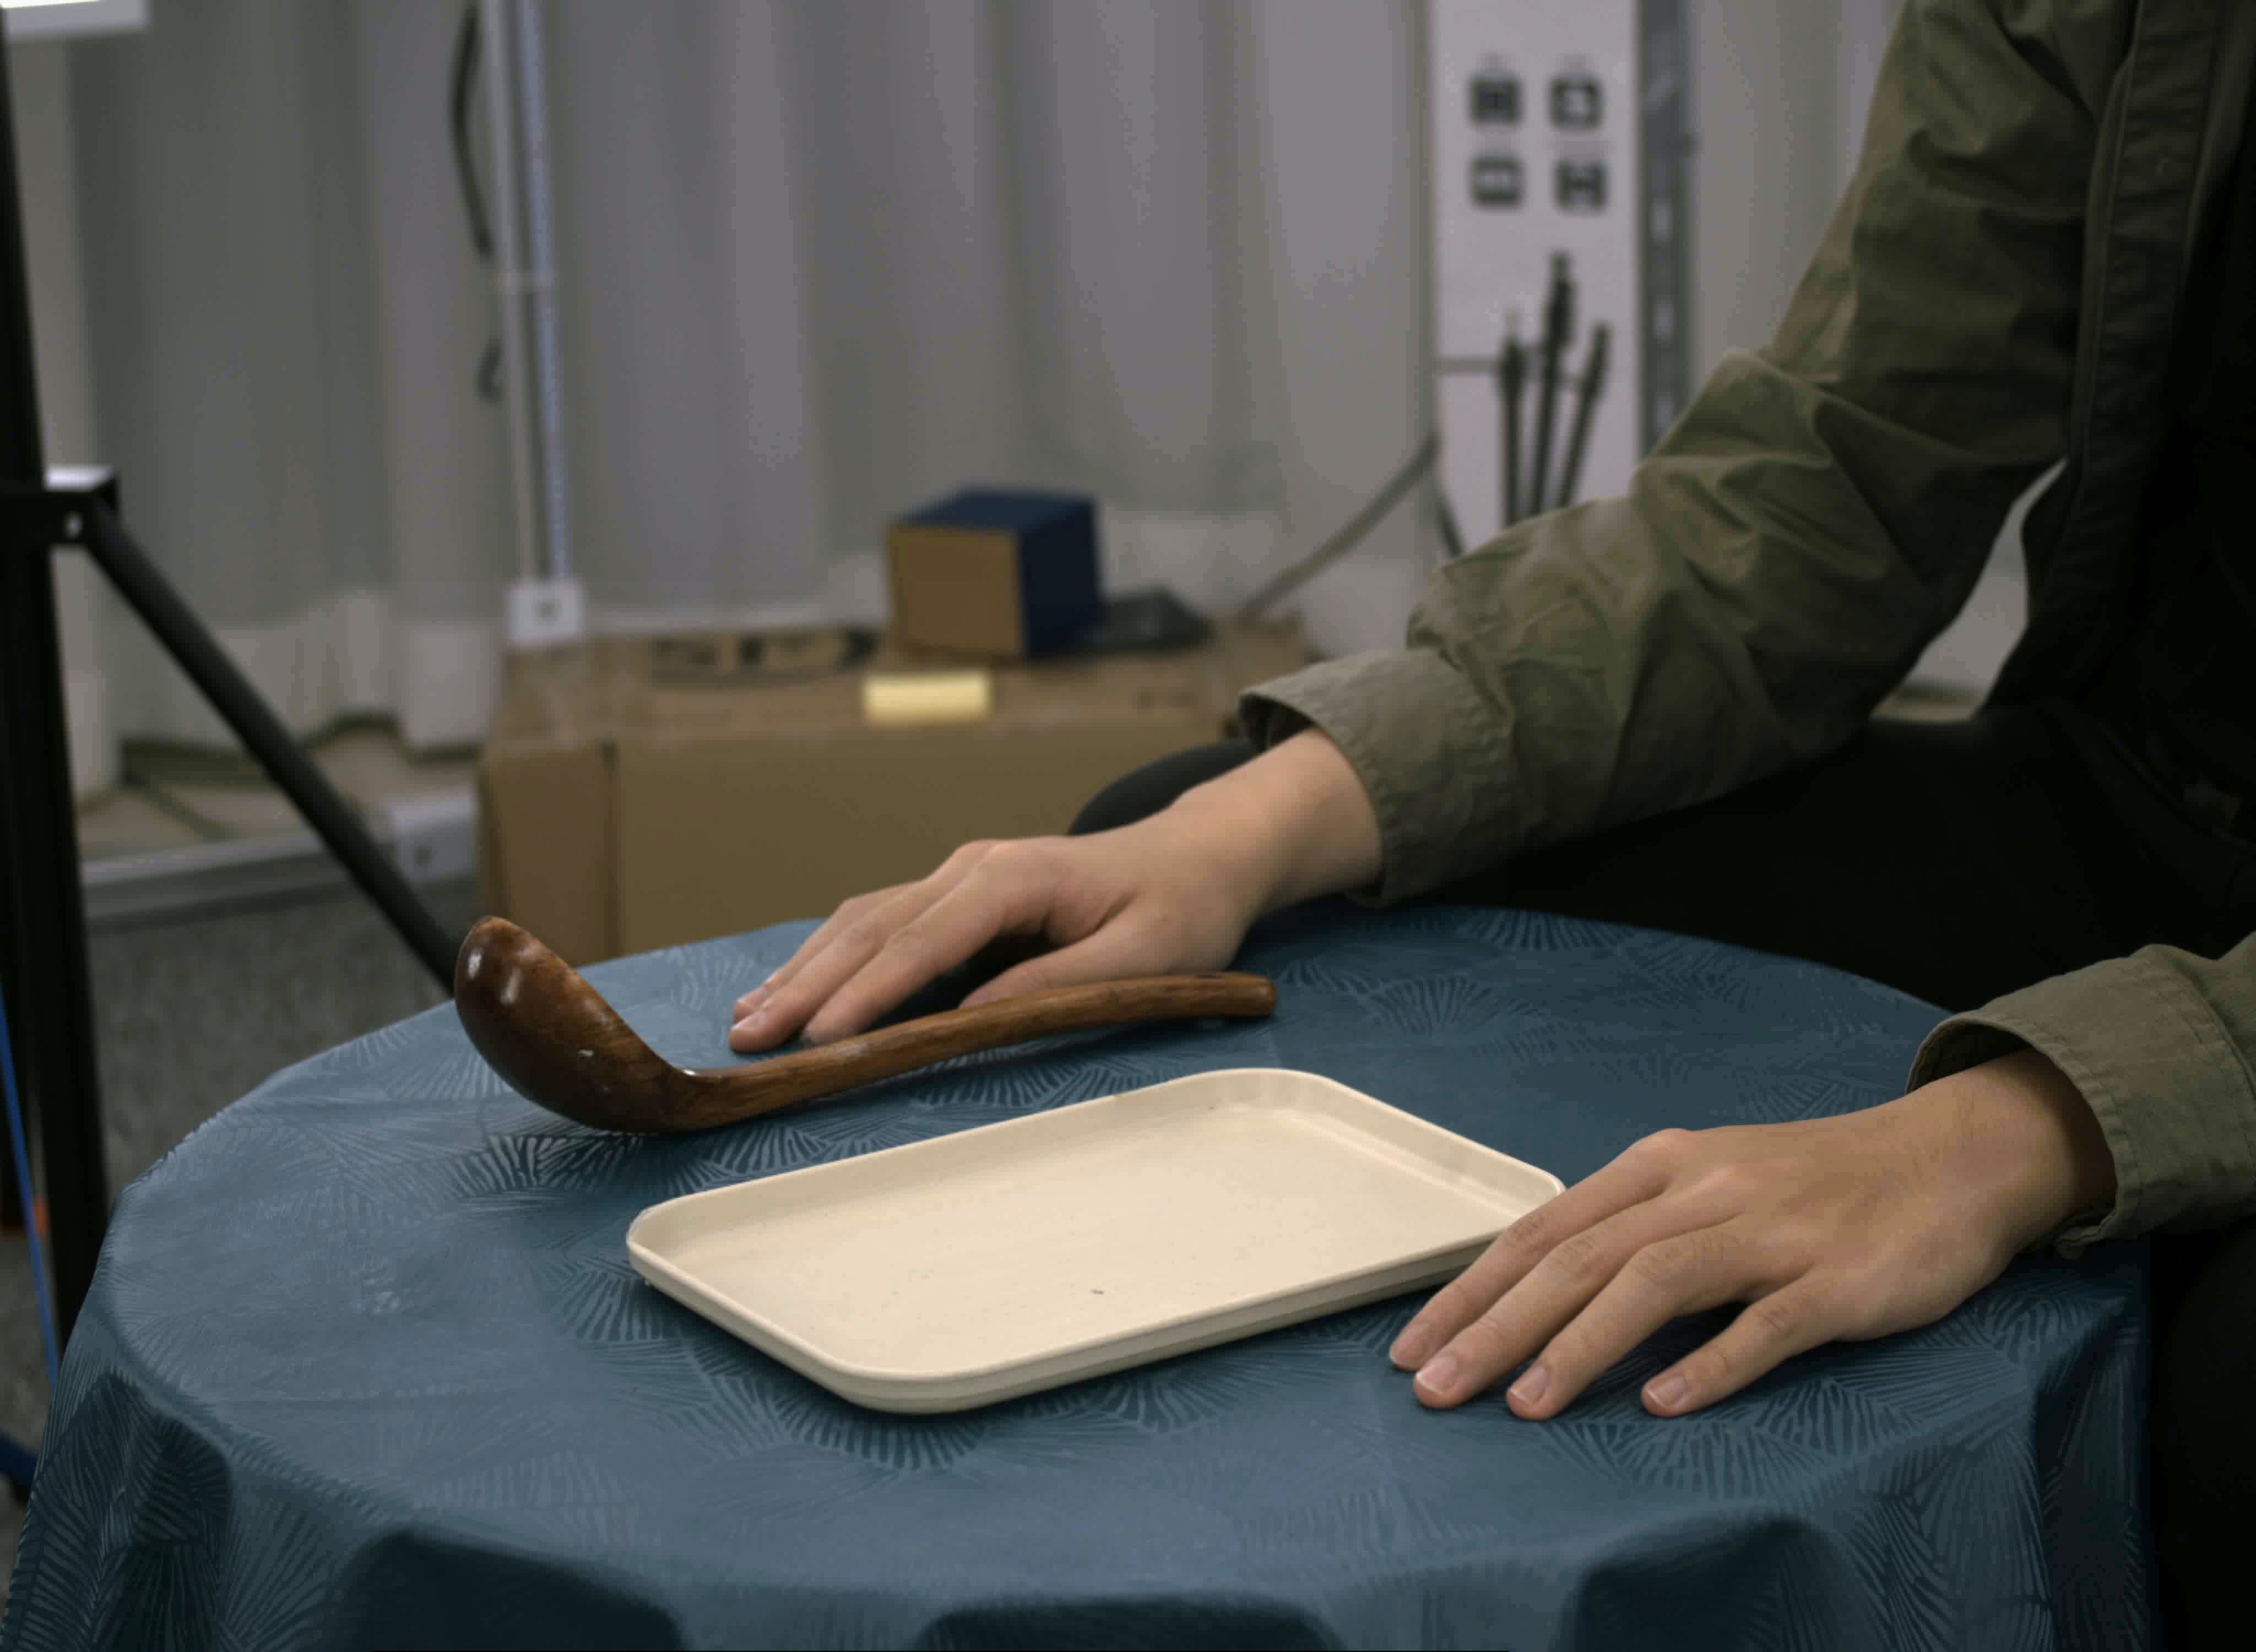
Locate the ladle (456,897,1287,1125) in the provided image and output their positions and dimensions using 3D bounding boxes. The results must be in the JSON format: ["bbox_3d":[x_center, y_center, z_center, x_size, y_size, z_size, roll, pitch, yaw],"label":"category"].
[{"bbox_3d":[-0.077,0.043,1.663,0.268,0.077,0.083,-9,12,-23],"label":"ladle"}]

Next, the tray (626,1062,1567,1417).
[{"bbox_3d":[-0.008,0.116,1.504,0.234,0.017,0.175,-12,19,-30],"label":"tray"}]
